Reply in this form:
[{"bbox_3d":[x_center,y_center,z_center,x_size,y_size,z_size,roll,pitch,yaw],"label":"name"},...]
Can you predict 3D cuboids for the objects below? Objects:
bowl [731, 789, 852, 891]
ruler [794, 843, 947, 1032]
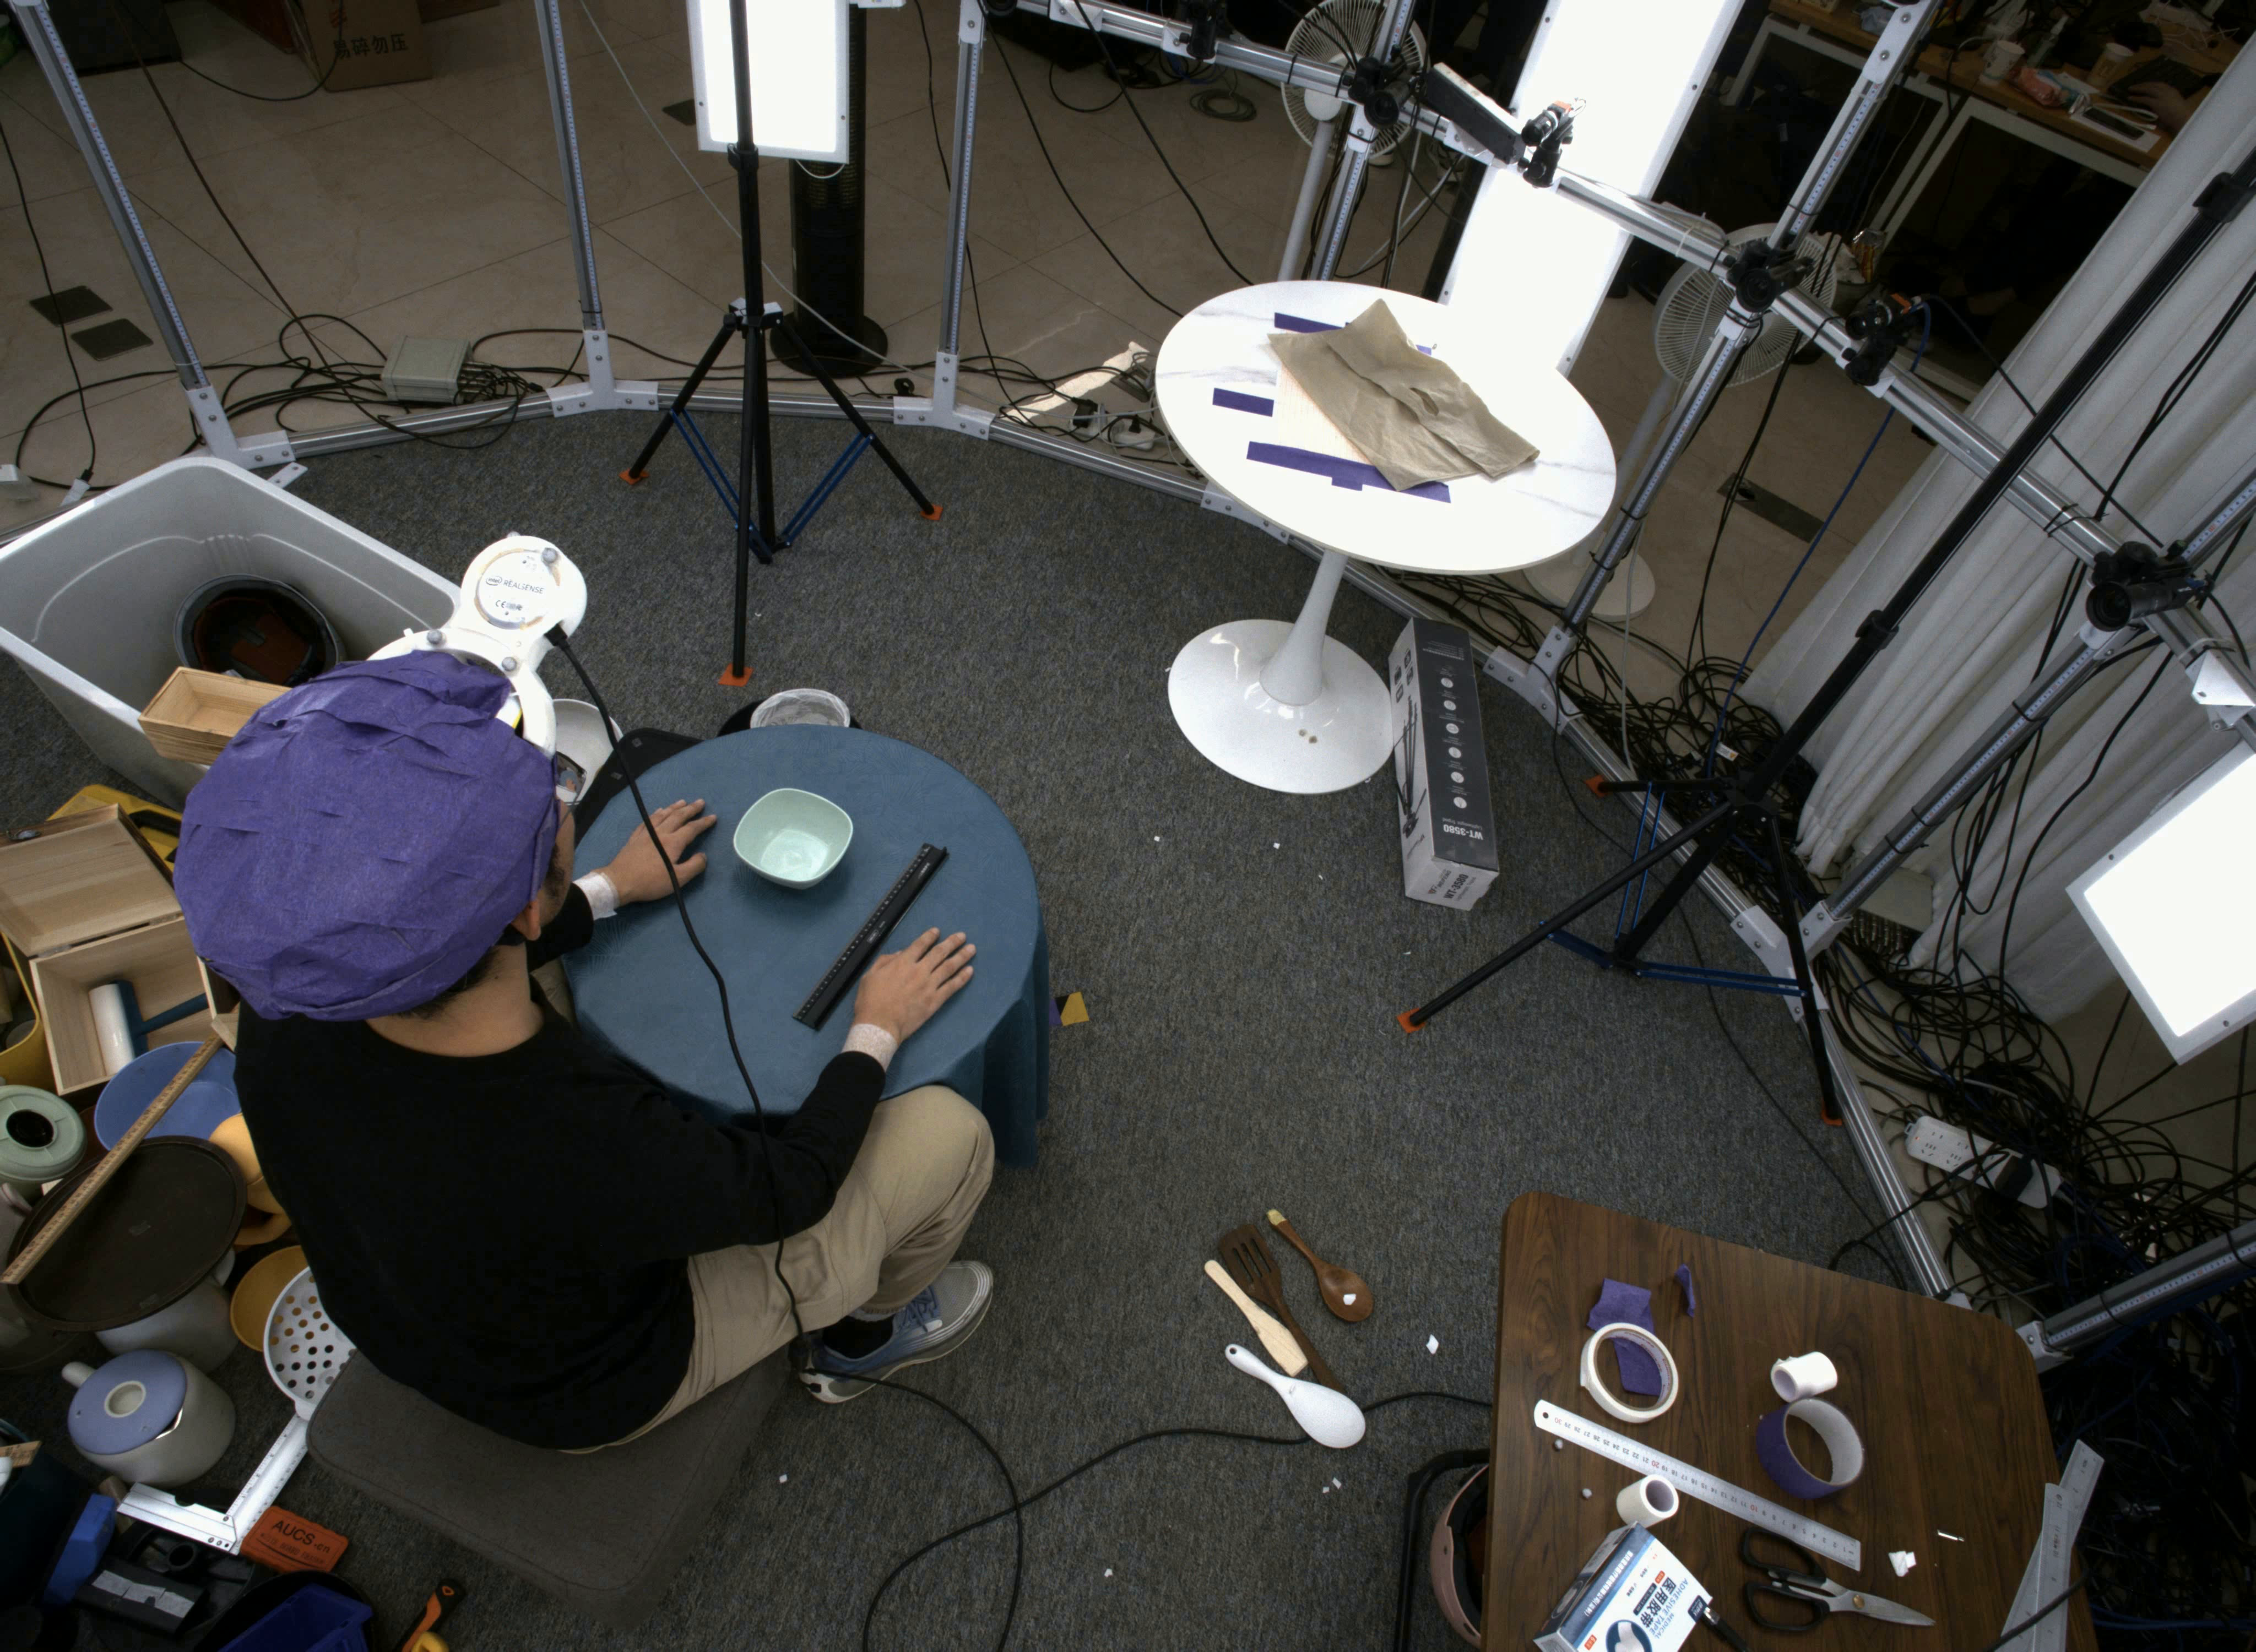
[{"bbox_3d":[-0.430,0.027,1.661,0.151,0.060,0.148,9,50,-9],"label":"bowl"},{"bbox_3d":[-0.320,0.128,1.641,0.038,0.017,0.311,25,52,10],"label":"ruler"}]
